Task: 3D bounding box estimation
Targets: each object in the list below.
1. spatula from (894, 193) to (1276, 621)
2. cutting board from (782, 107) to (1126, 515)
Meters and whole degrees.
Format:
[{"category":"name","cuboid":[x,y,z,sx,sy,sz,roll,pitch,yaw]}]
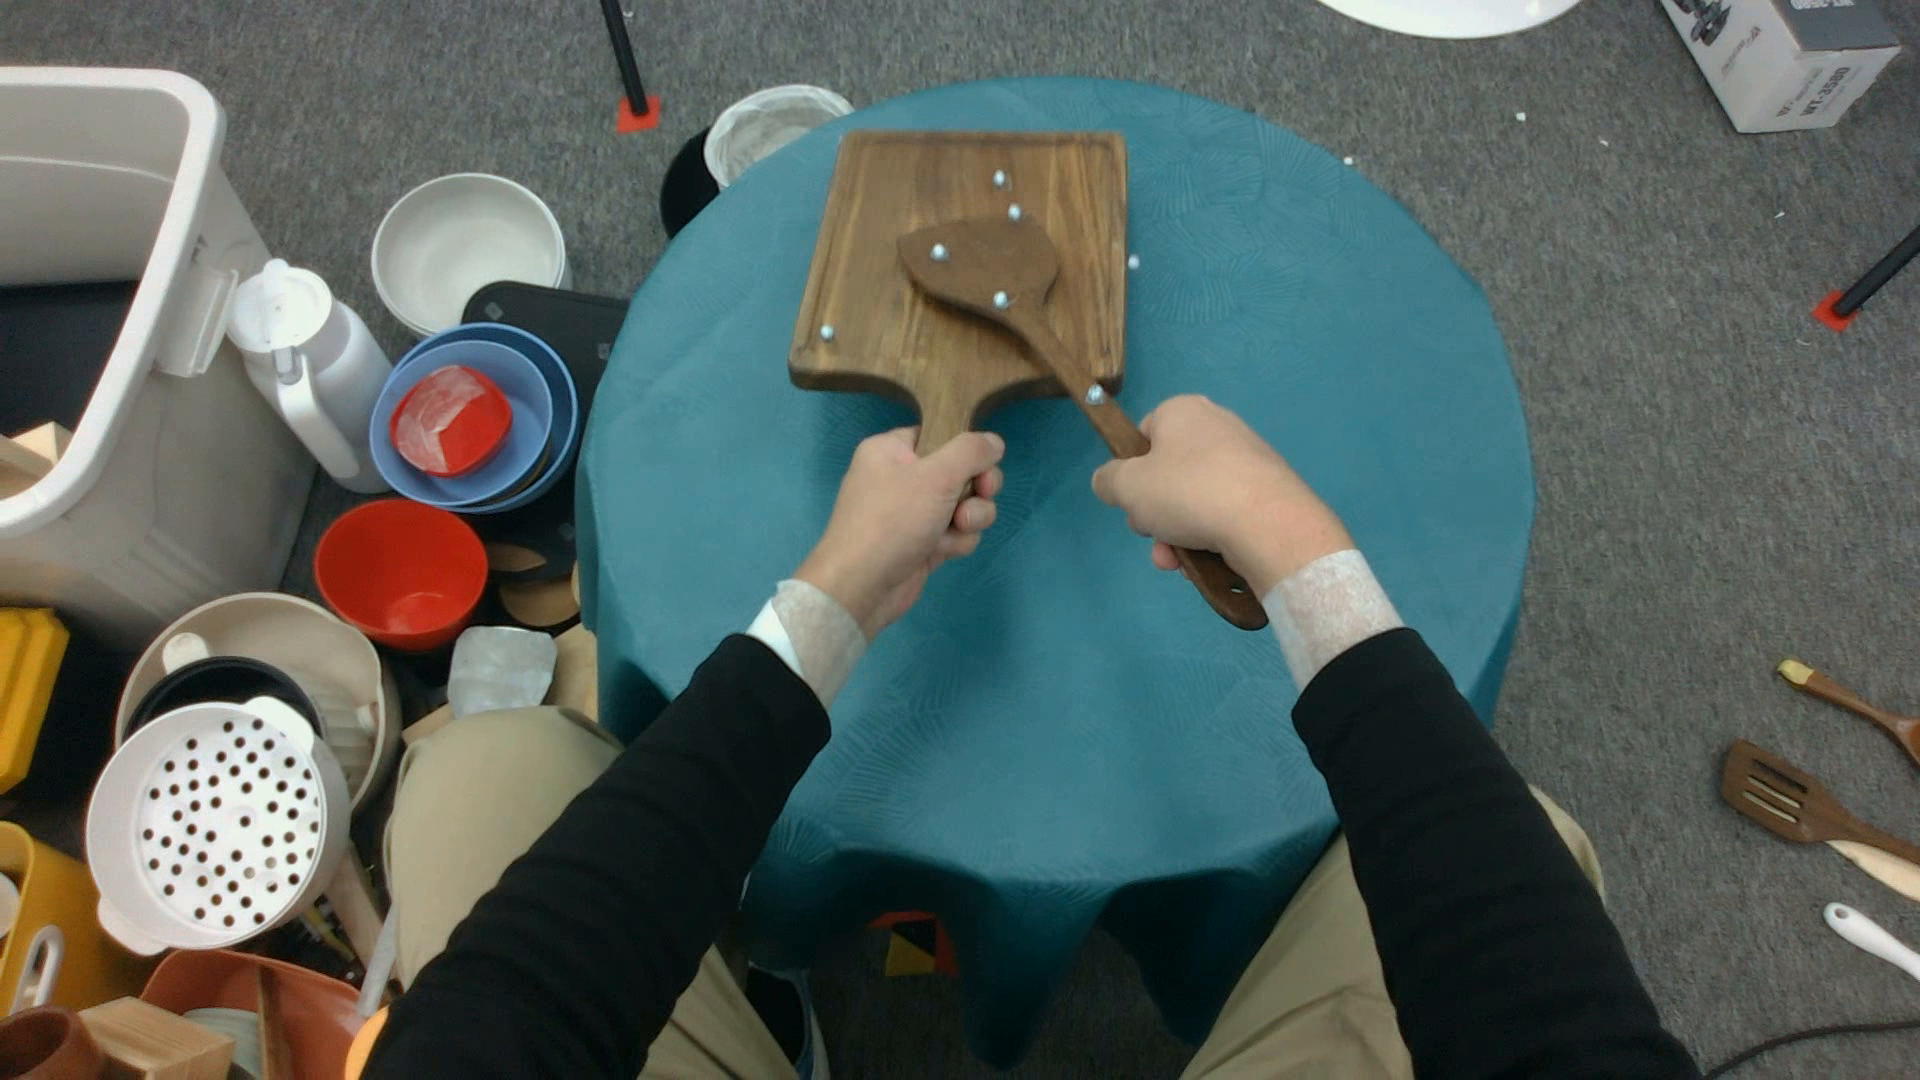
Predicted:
[{"category":"spatula","cuboid":[0.065,-0.090,0.735,0.096,0.016,0.387,-15,44,-14]},{"category":"cutting board","cuboid":[-0.001,-0.155,0.832,0.201,0.023,0.354,2,51,4]}]
